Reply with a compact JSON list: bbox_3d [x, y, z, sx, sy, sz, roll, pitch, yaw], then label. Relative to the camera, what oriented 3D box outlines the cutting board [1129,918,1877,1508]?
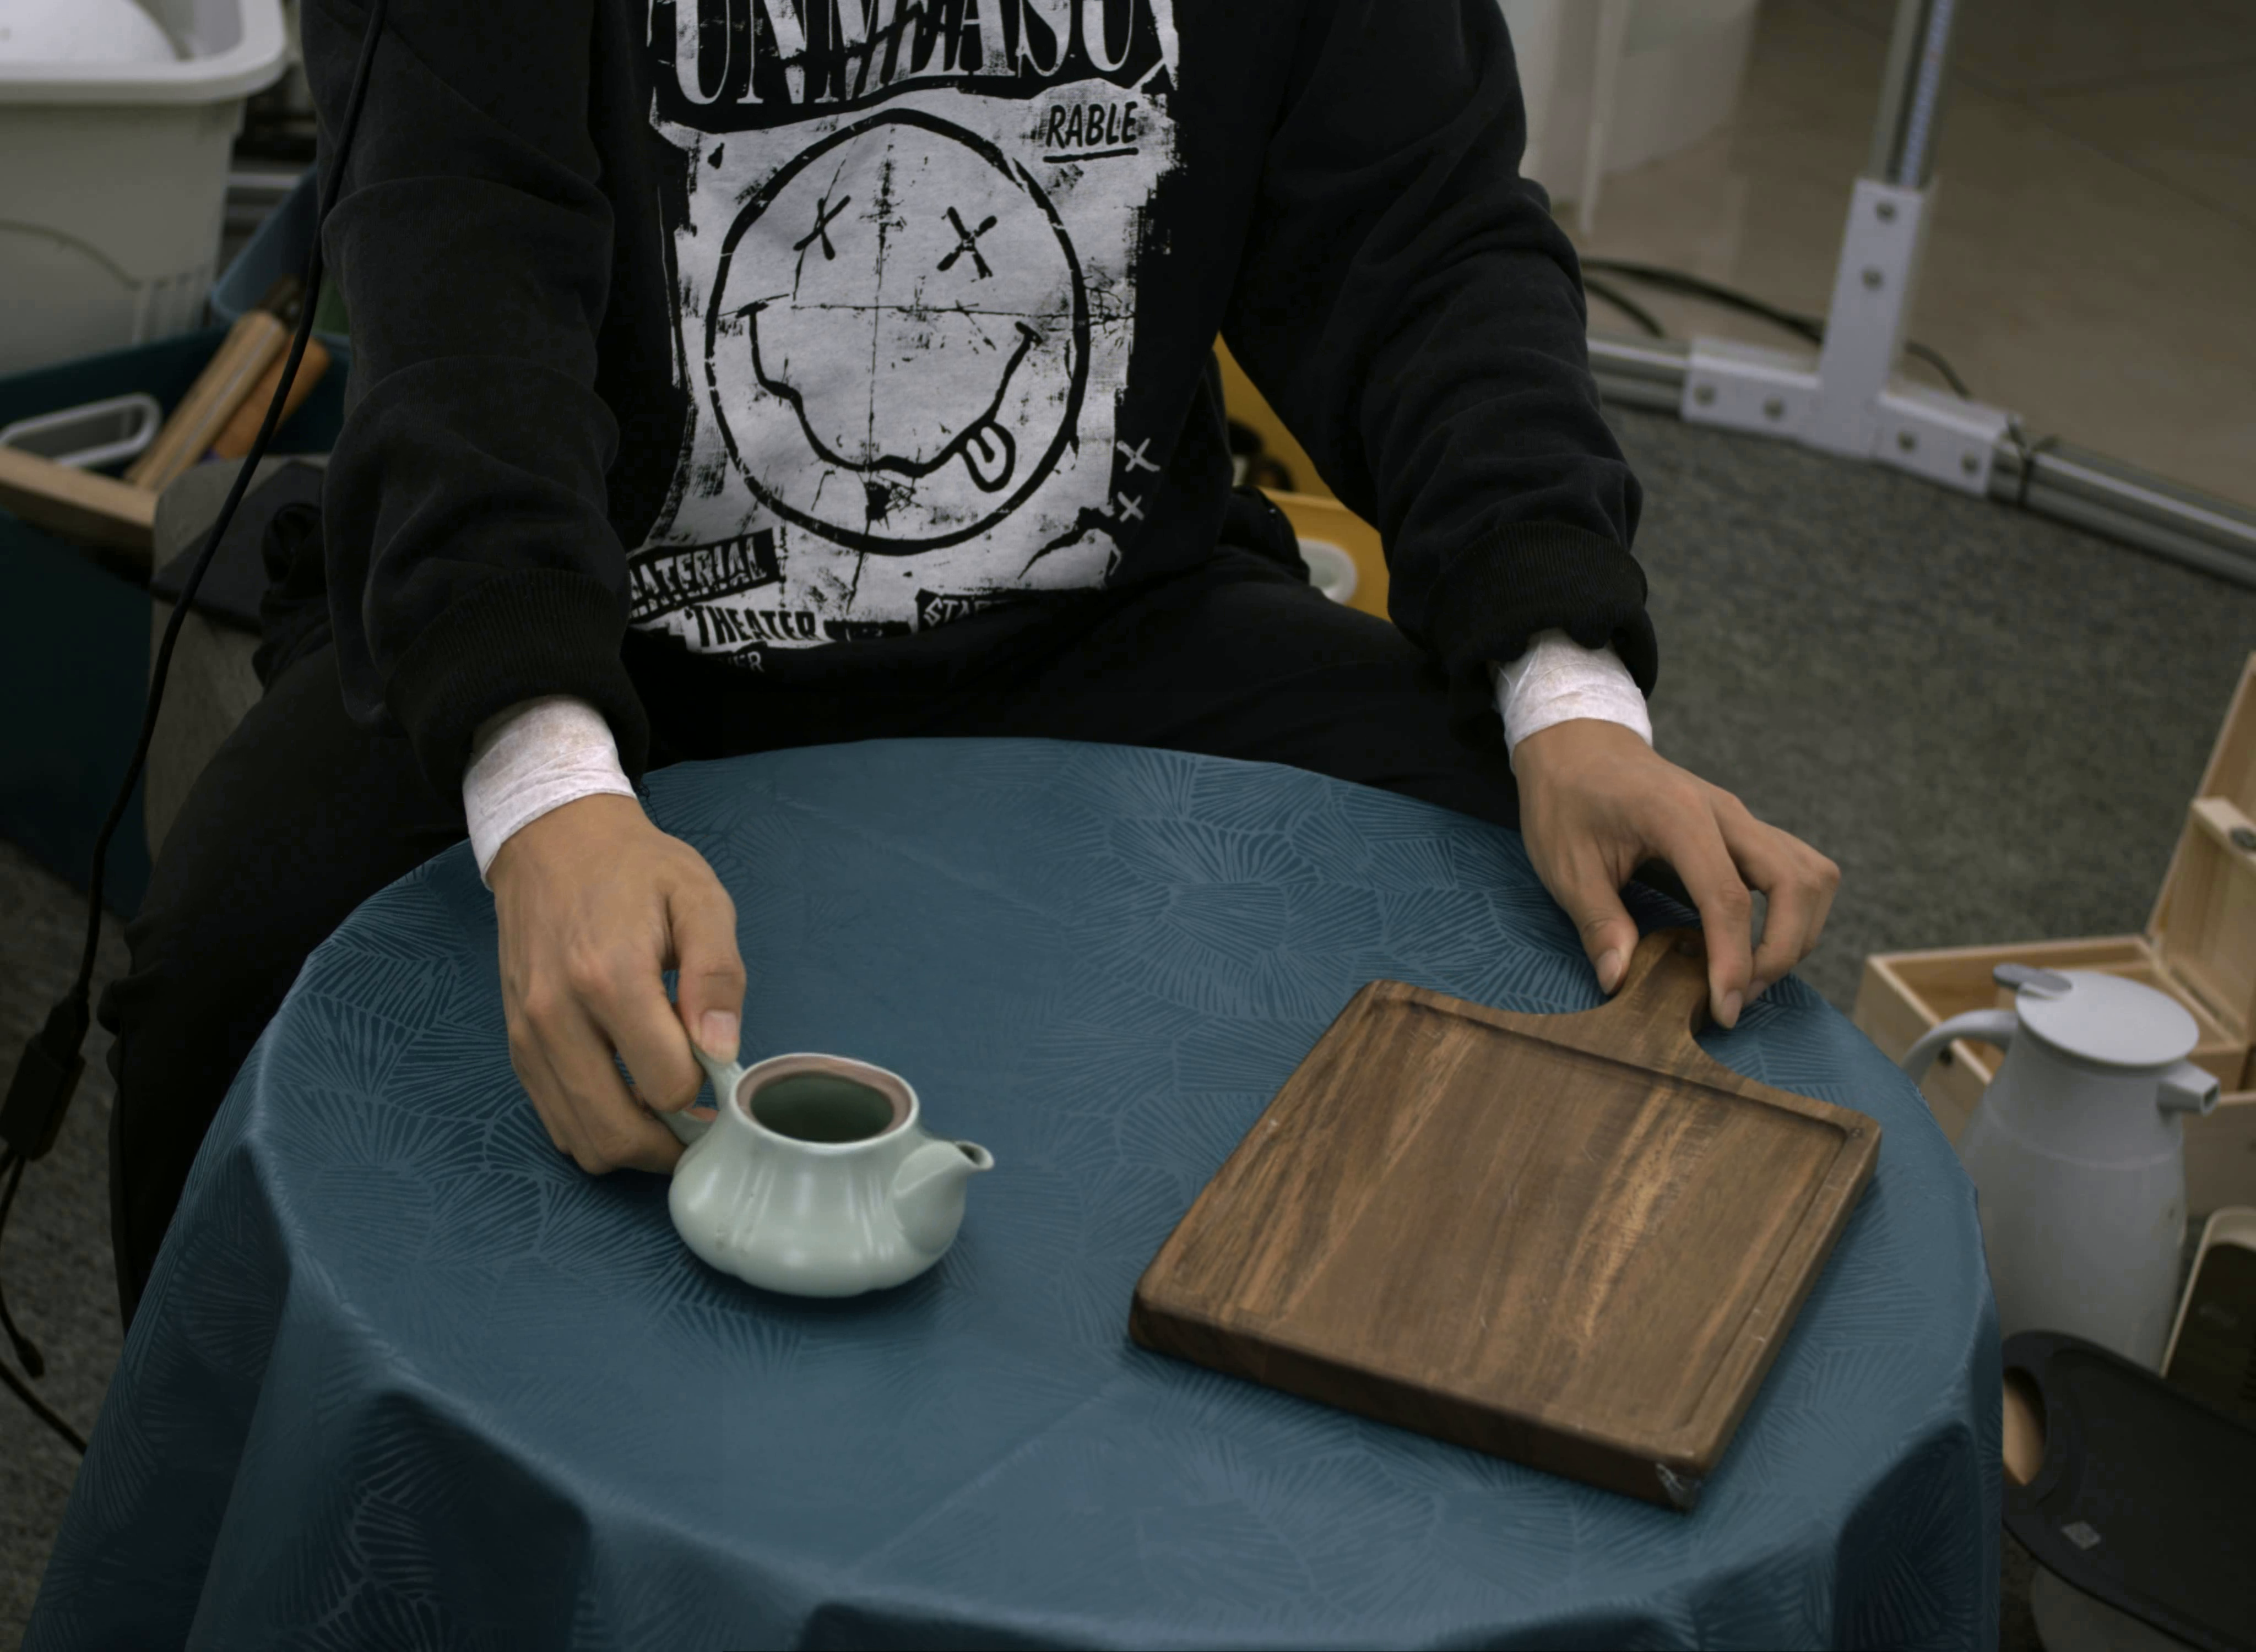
[{"bbox_3d":[0.148,0.114,1.832,0.201,0.023,0.352,15,28,15],"label":"cutting board"}]

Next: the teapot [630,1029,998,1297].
[{"bbox_3d":[-0.105,0.110,1.742,0.137,0.061,0.096,19,31,24],"label":"teapot"}]
